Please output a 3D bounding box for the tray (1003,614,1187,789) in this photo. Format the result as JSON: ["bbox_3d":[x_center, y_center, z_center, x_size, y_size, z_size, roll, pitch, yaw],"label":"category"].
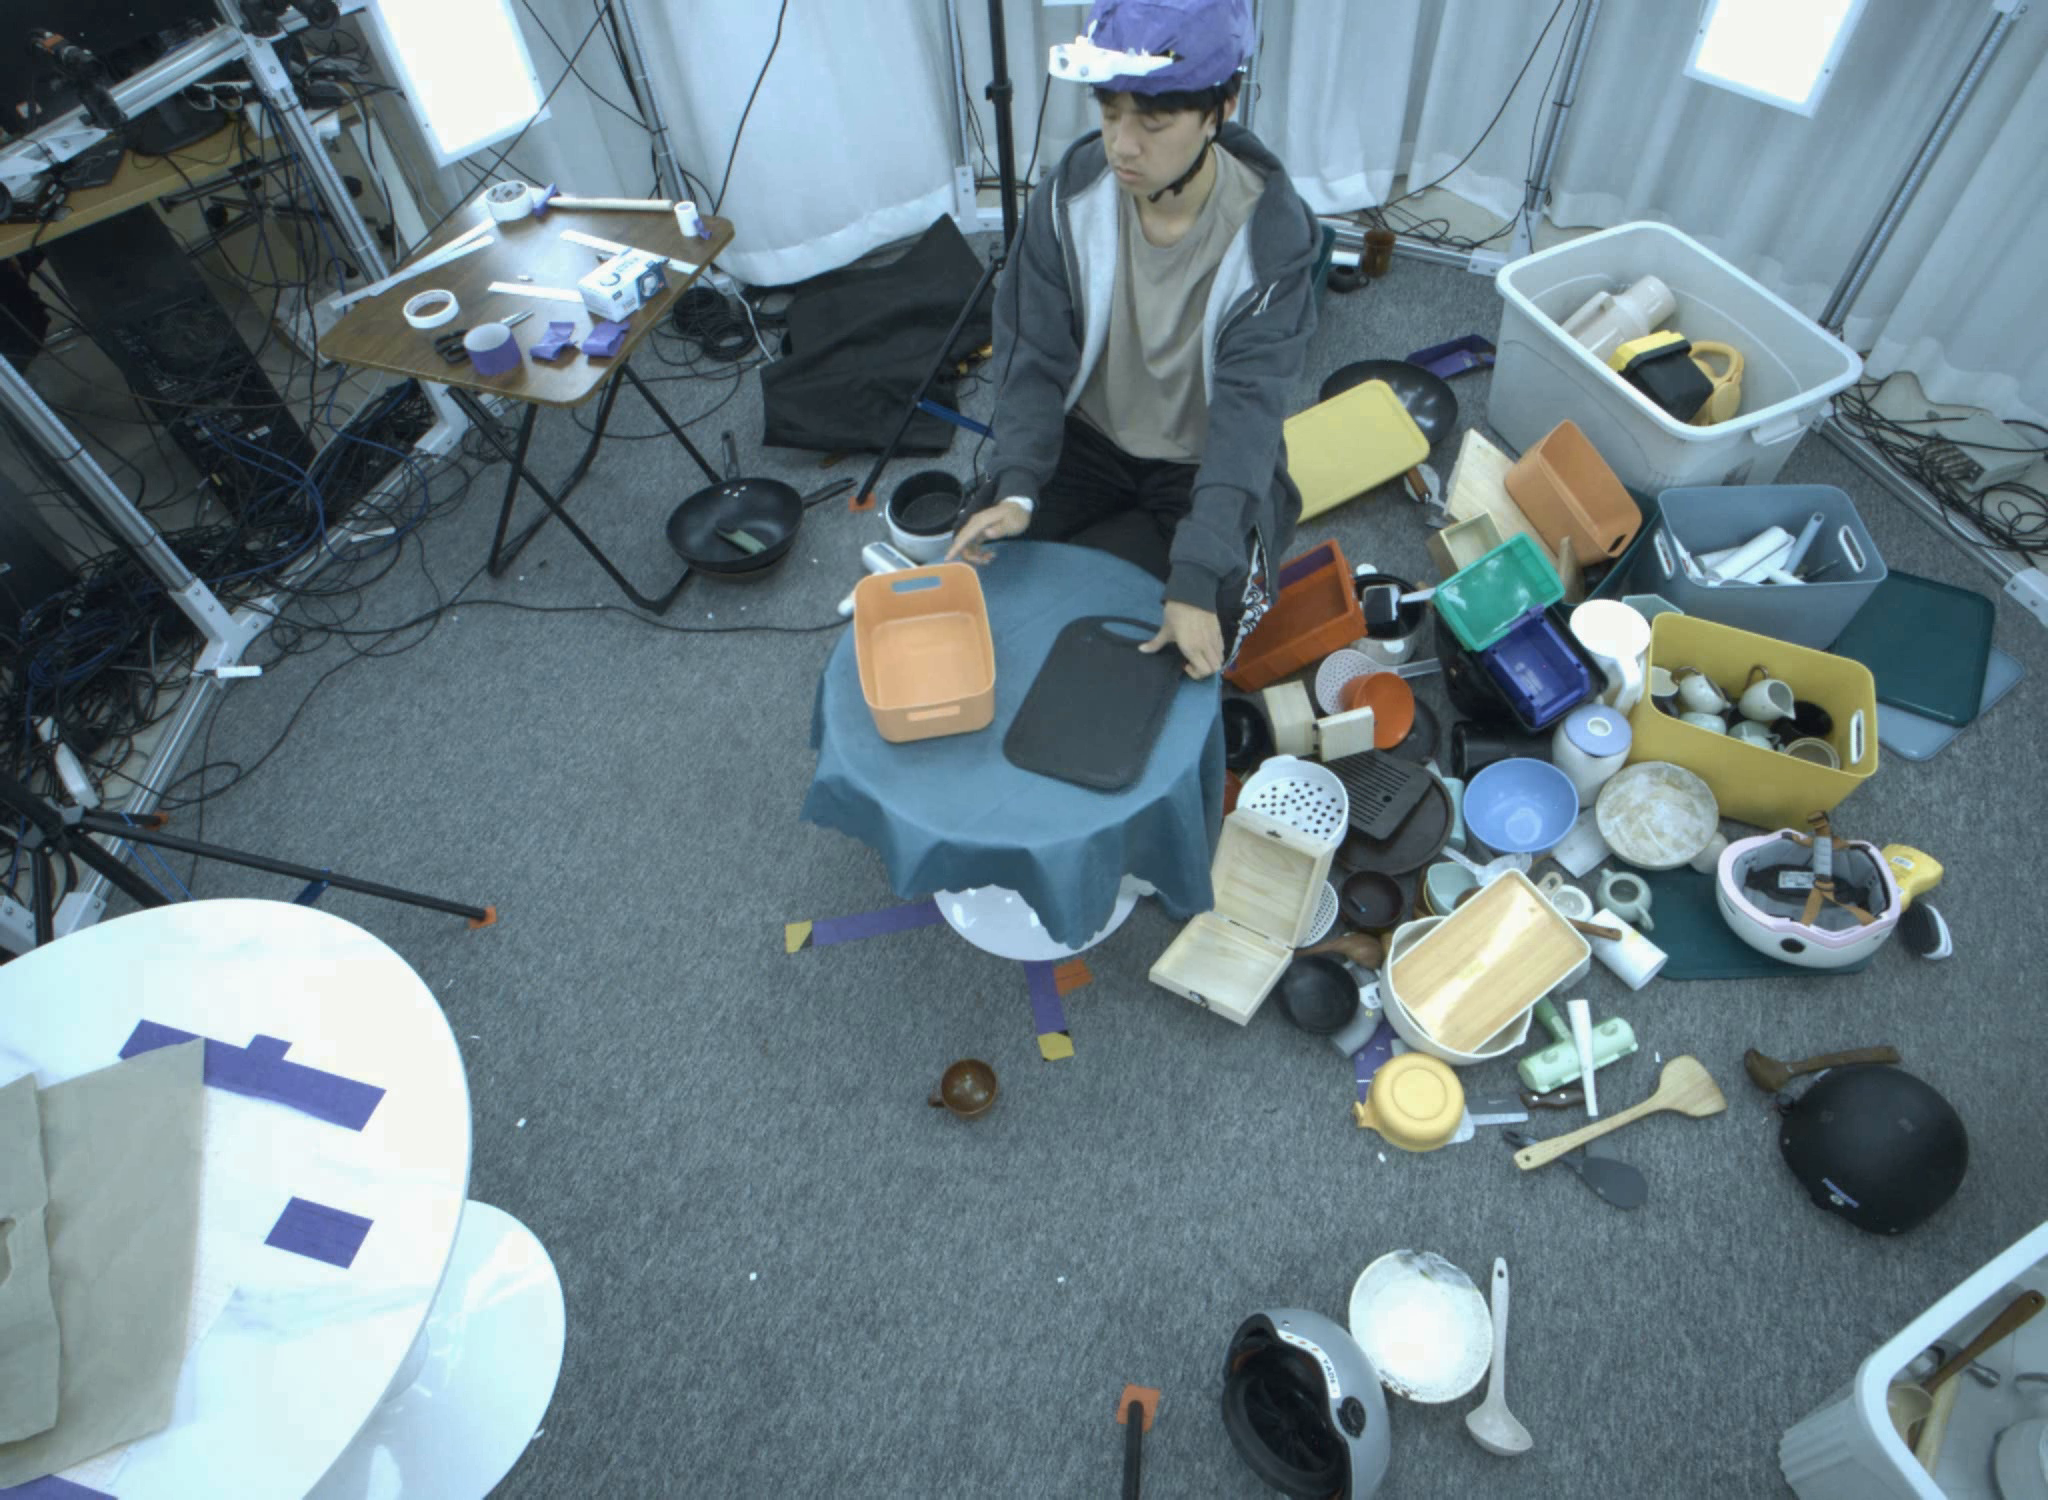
[{"bbox_3d":[0.111,-0.085,1.837,0.208,0.010,0.325,16,56,16],"label":"tray"}]

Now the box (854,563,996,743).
[{"bbox_3d":[-0.145,-0.143,1.832,0.200,0.104,0.269,-9,55,-4],"label":"box"}]
